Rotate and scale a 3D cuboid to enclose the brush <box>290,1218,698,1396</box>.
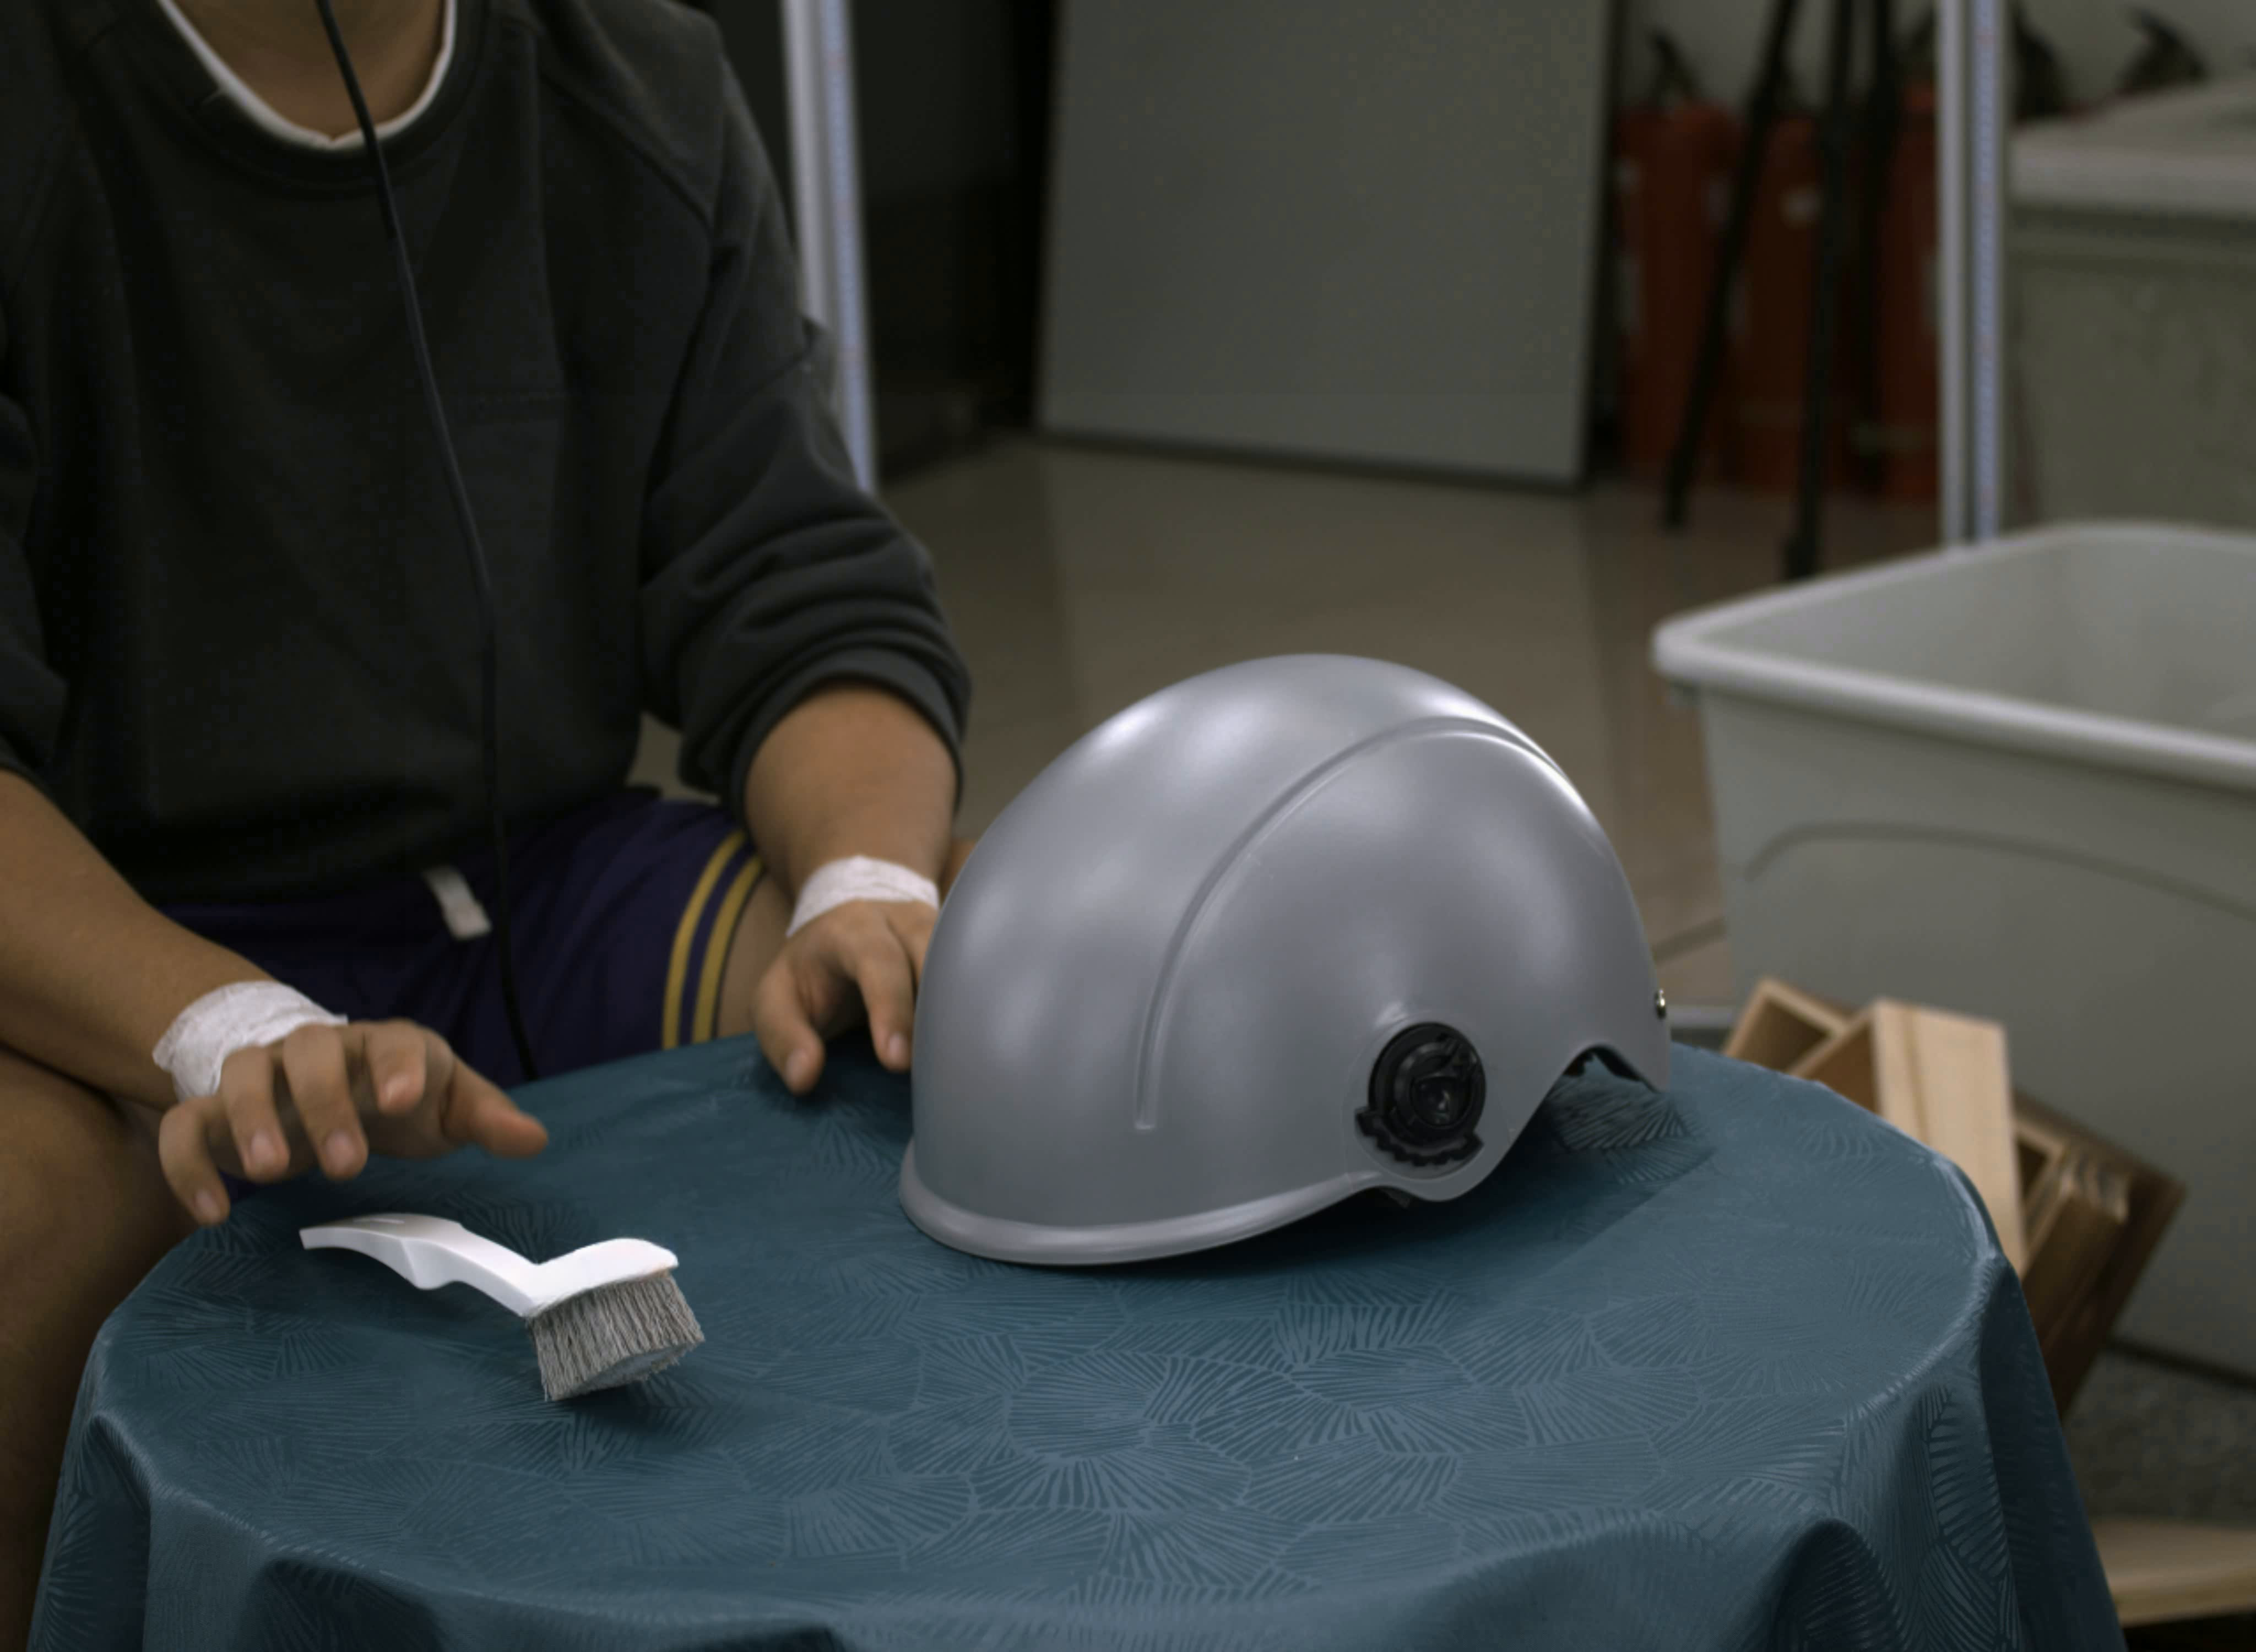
[{"bbox_3d":[-0.199,0.148,1.668,0.033,0.051,0.246,-12,2,-31],"label":"brush"}]

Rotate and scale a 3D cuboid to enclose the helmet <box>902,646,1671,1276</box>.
[{"bbox_3d":[0.044,0.031,1.779,0.270,0.170,0.234,-18,16,-39],"label":"helmet"}]
